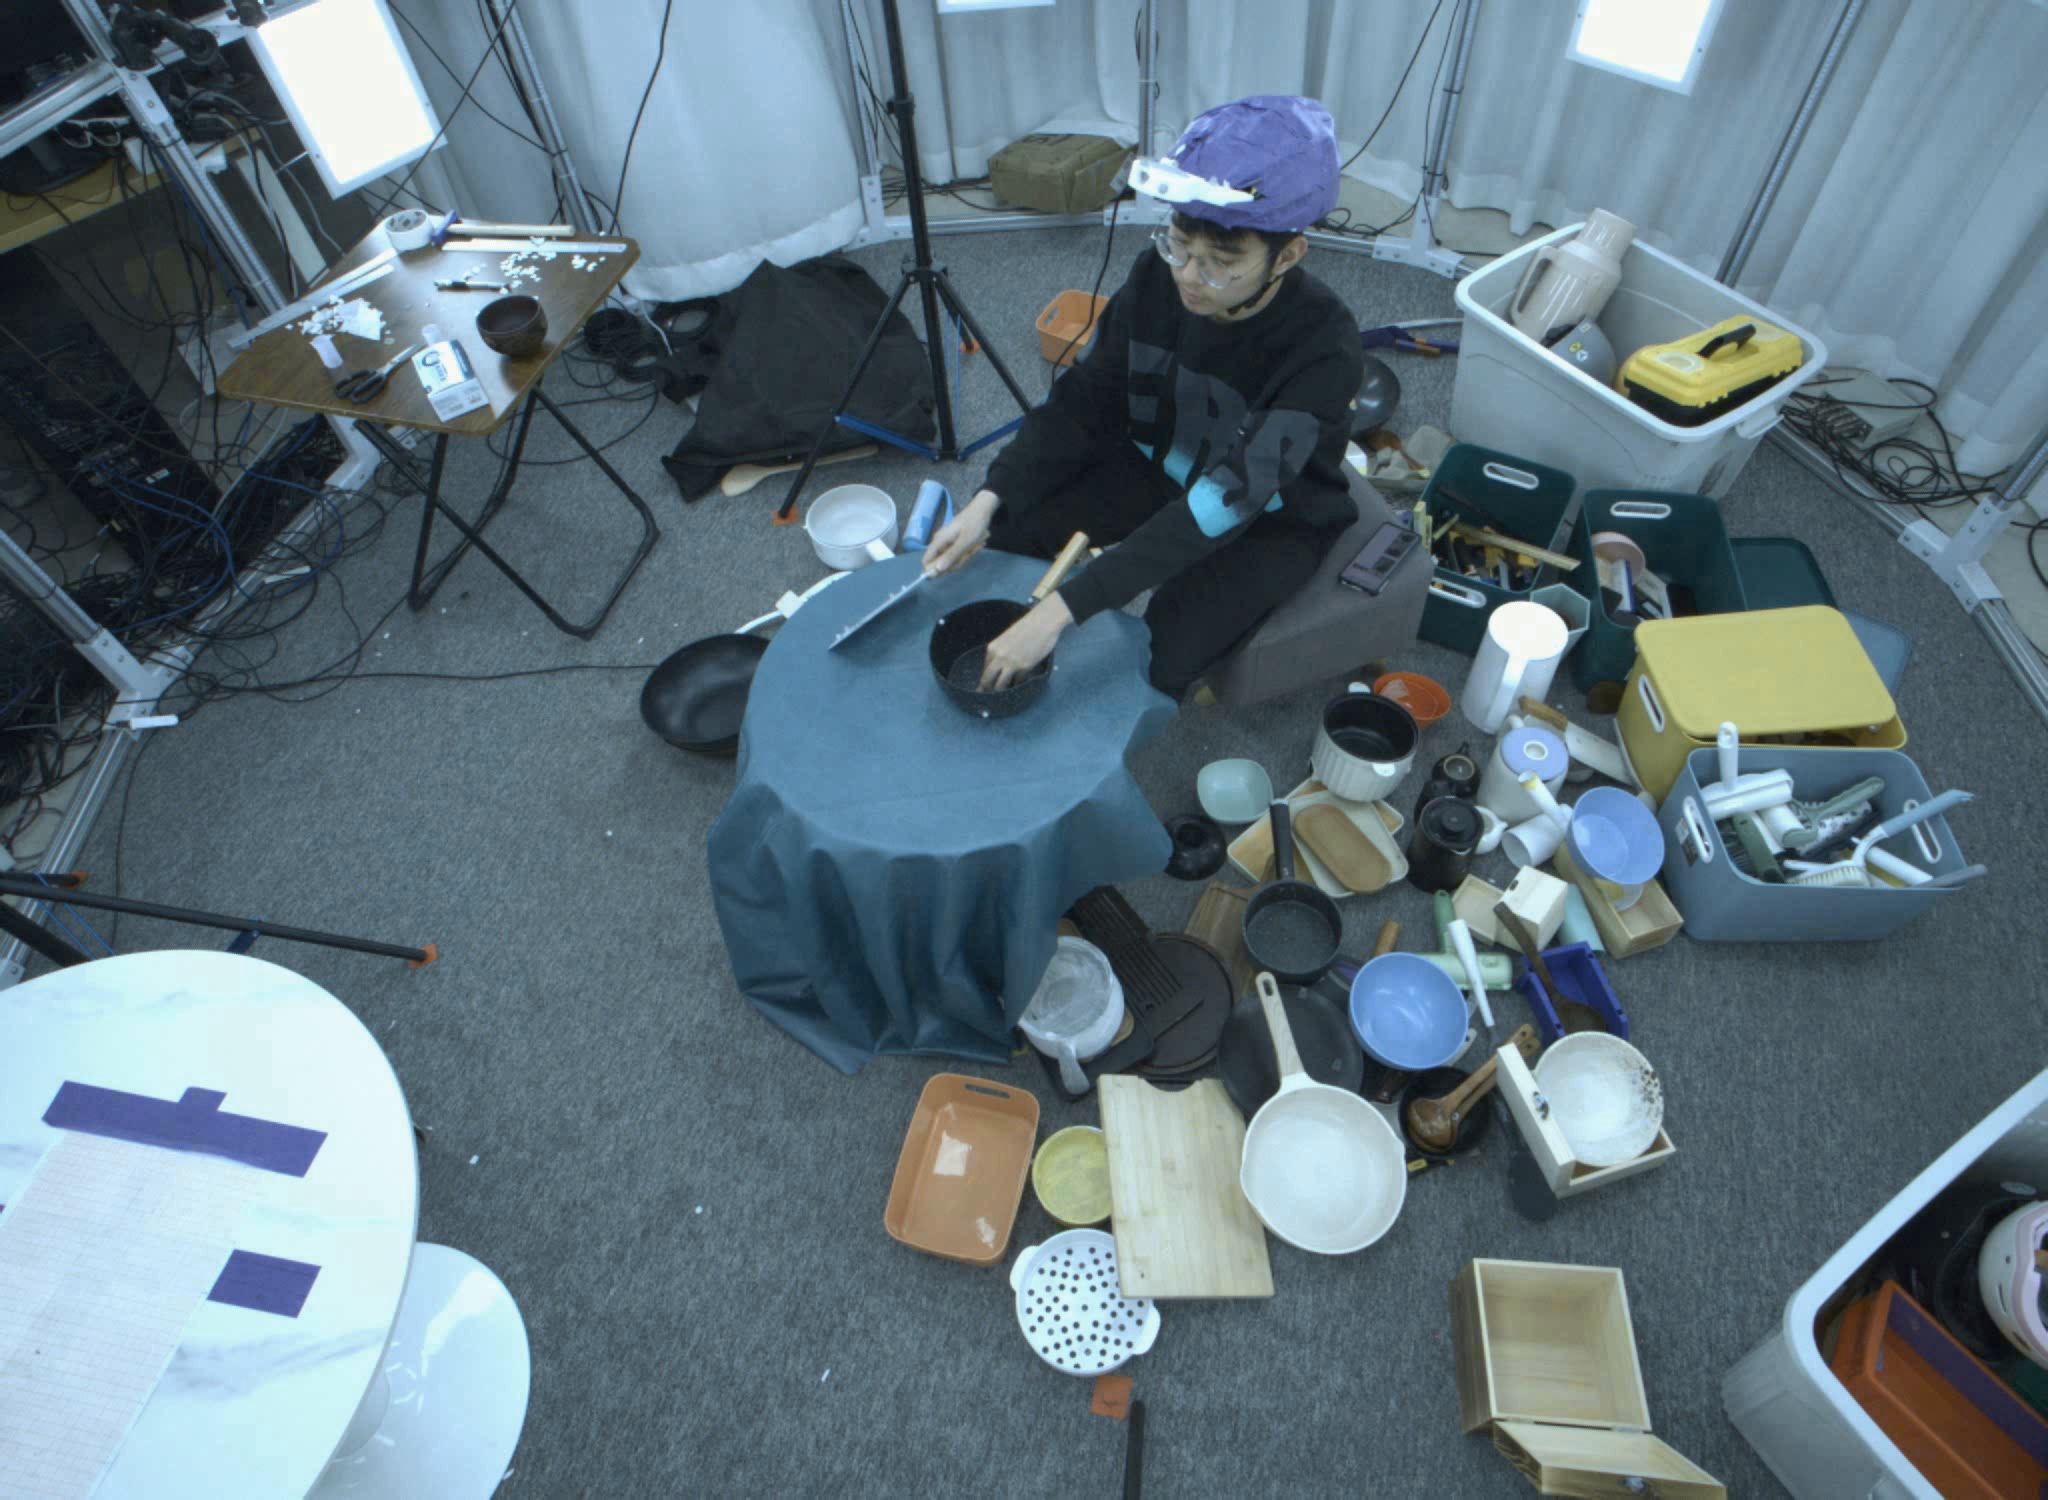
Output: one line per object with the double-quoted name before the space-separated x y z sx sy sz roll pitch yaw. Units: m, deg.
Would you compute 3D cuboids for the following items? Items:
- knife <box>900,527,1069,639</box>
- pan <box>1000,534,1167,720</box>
"knife" -0.058 -0.261 1.920 0.317 0.112 0.022 -36 102 -17
"pan" 0.107 -0.189 1.849 0.204 0.109 0.344 30 63 23
